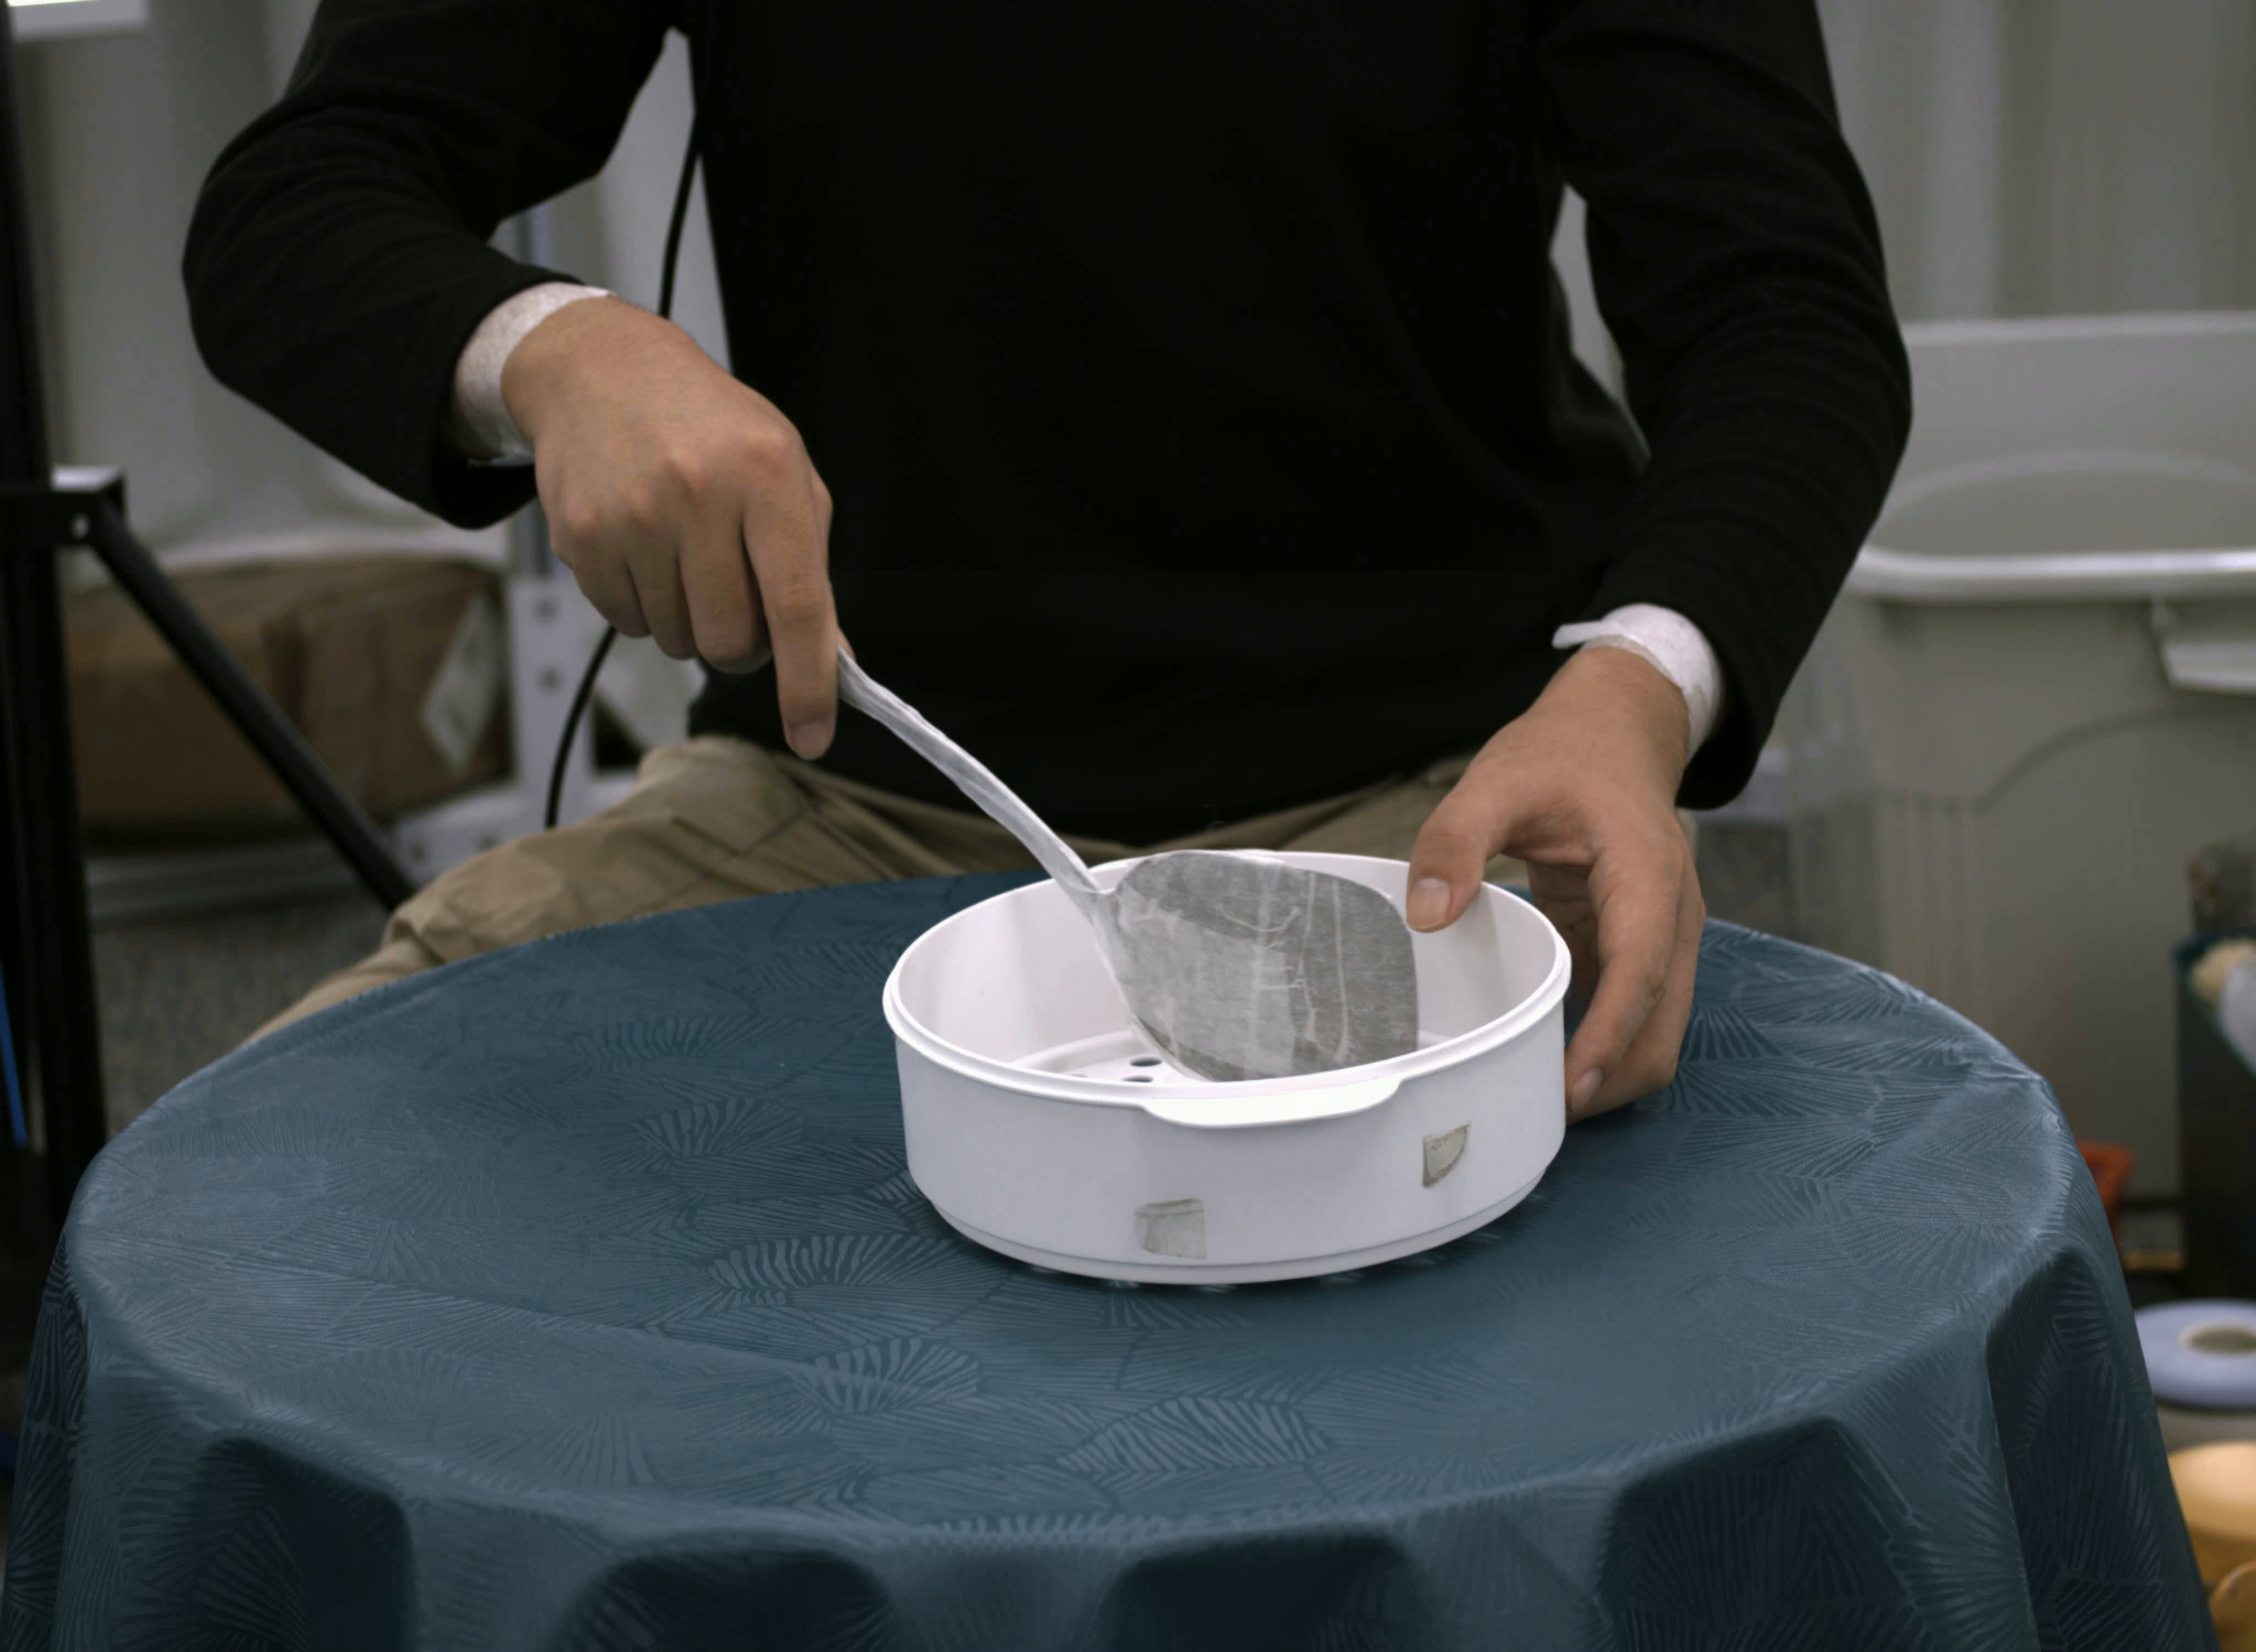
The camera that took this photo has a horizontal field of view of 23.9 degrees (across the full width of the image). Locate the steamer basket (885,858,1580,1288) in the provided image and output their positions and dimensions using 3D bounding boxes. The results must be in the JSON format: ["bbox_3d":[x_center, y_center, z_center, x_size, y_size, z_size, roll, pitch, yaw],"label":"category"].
[{"bbox_3d":[0.031,0.071,1.543,0.200,0.069,0.232,-4,18,-3],"label":"steamer basket"}]

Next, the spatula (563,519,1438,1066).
[{"bbox_3d":[-0.047,-0.017,1.616,0.044,0.098,0.373,-29,47,-29],"label":"spatula"}]
